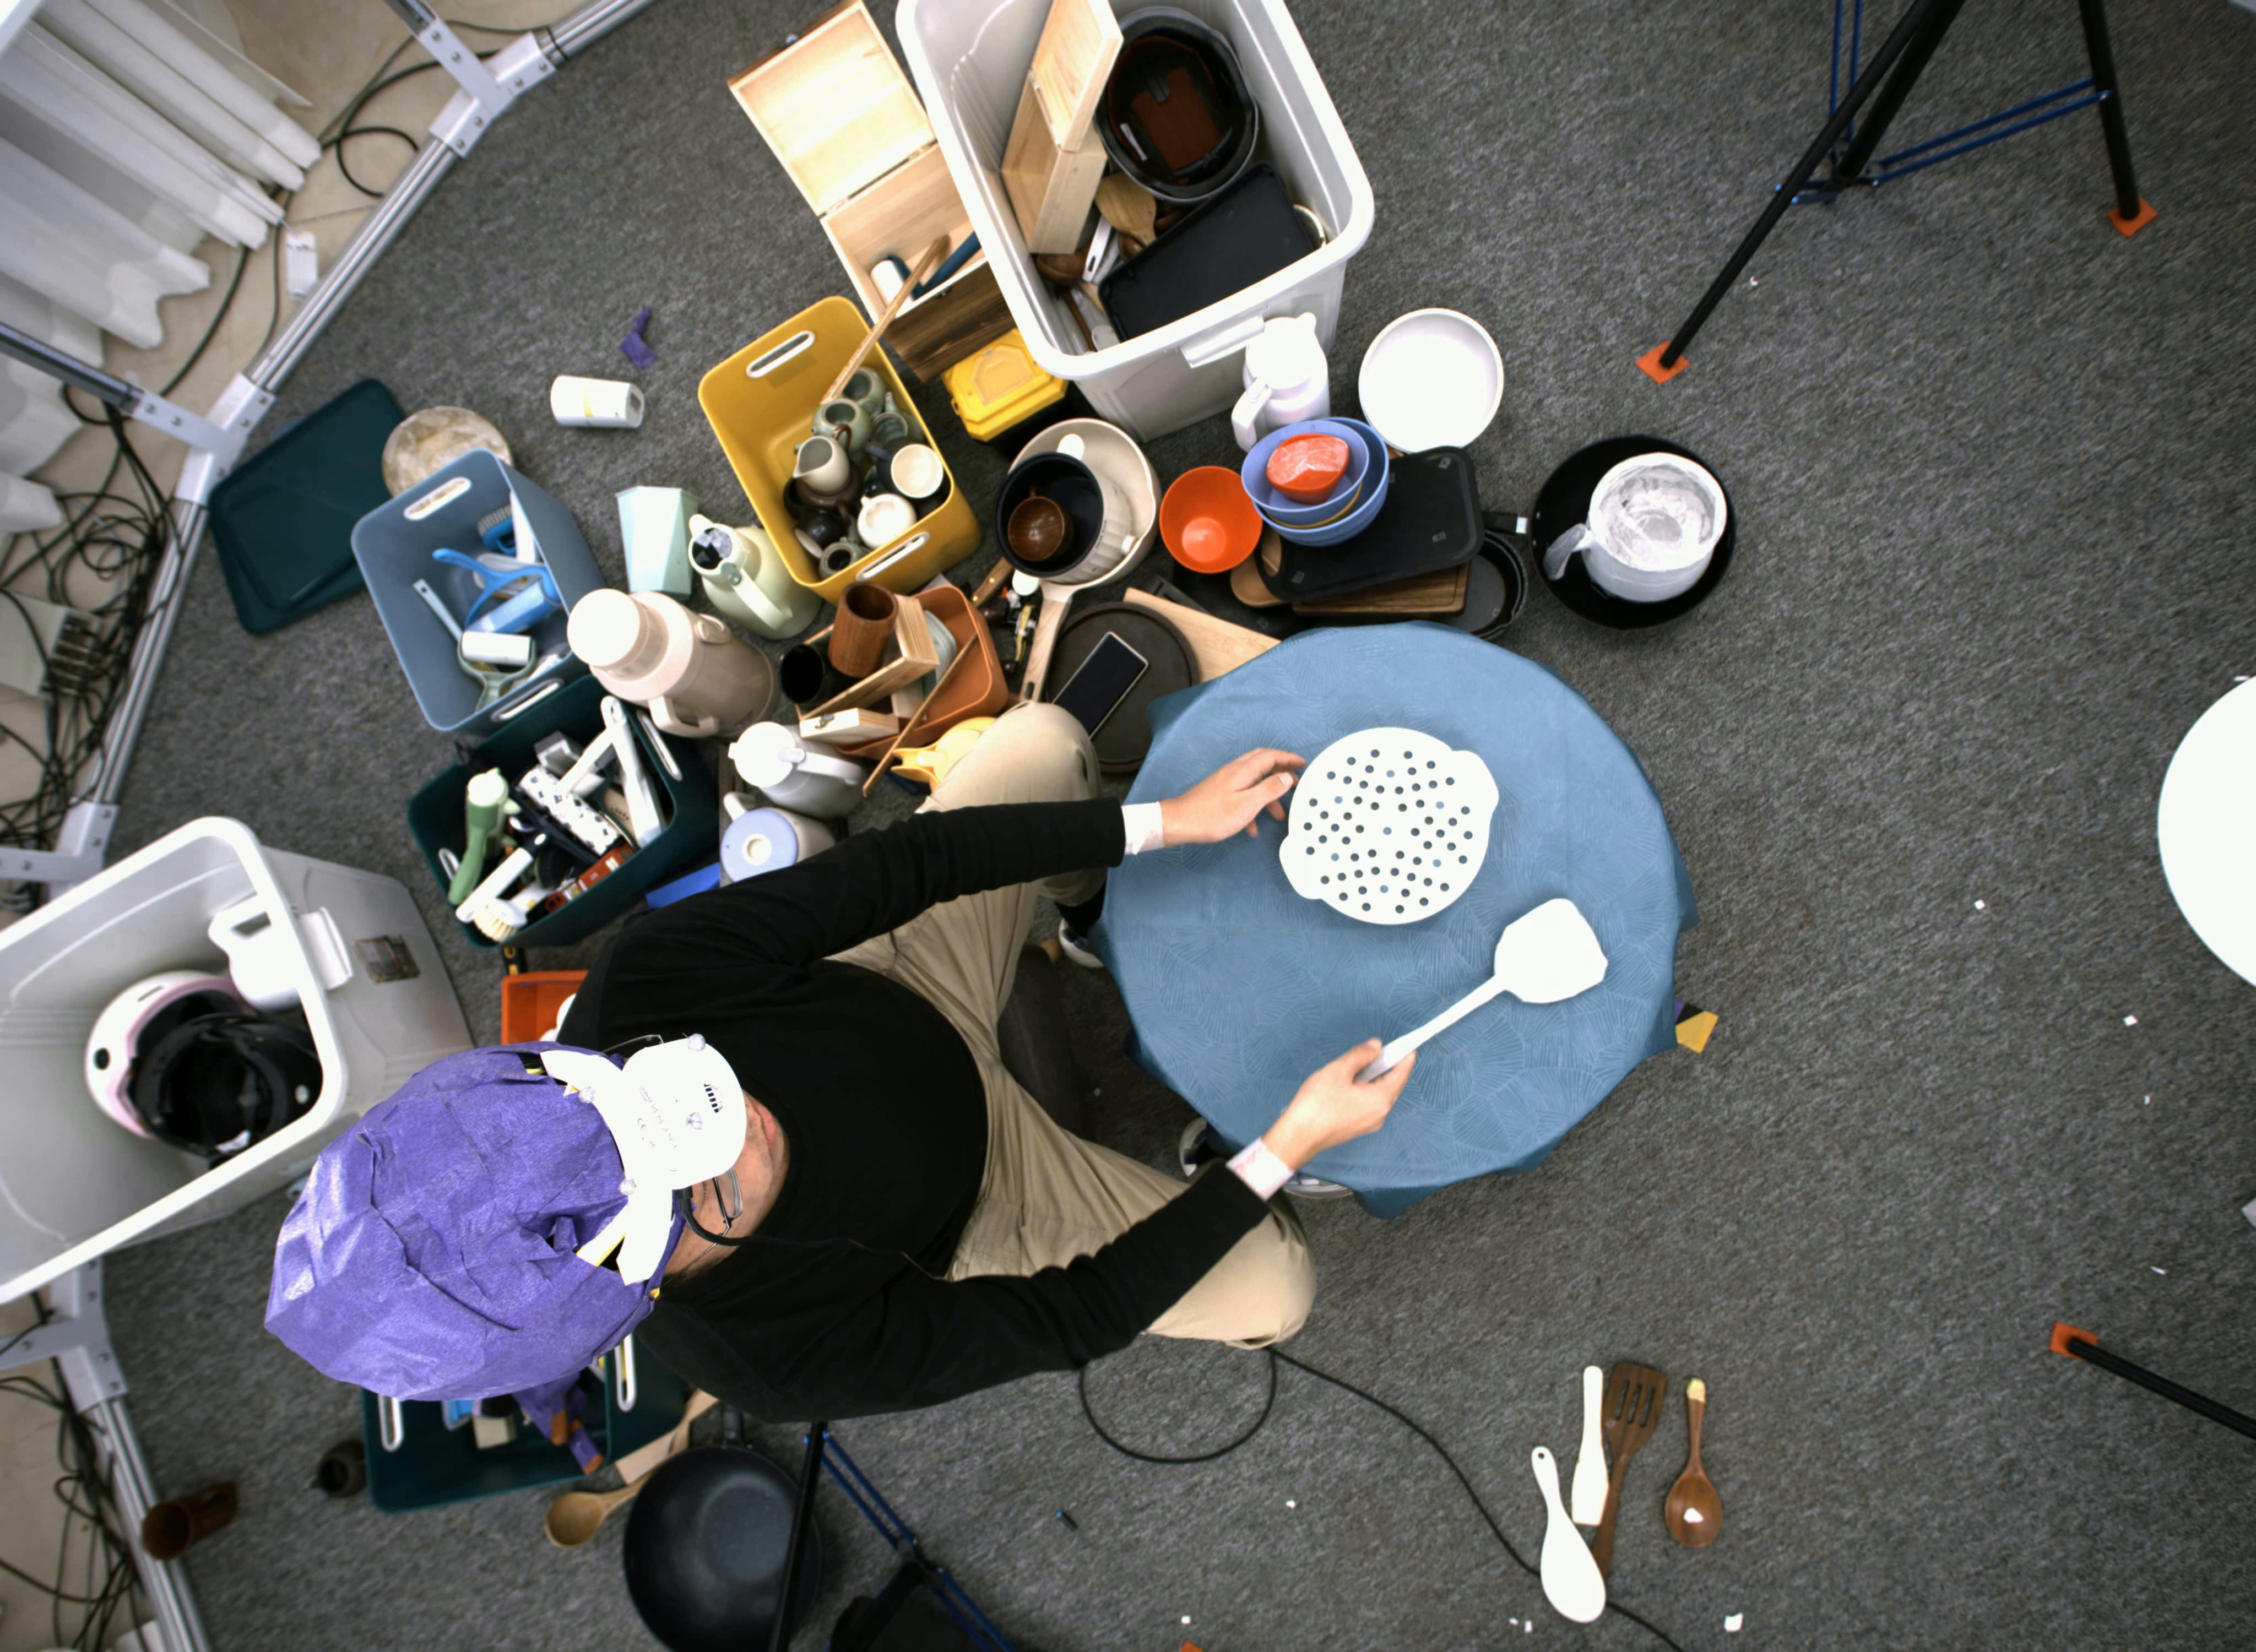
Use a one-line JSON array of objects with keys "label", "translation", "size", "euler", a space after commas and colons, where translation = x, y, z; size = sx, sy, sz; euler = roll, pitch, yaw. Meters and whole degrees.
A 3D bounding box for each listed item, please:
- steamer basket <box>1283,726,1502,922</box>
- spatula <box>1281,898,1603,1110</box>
[{"label": "steamer basket", "translation": [0.274, -0.001, 1.428], "size": [0.232, 0.069, 0.200], "euler": [-27, 81, 9]}, {"label": "spatula", "translation": [0.313, 0.191, 1.376], "size": [0.362, 0.045, 0.099], "euler": [-29, 92, -13]}]
